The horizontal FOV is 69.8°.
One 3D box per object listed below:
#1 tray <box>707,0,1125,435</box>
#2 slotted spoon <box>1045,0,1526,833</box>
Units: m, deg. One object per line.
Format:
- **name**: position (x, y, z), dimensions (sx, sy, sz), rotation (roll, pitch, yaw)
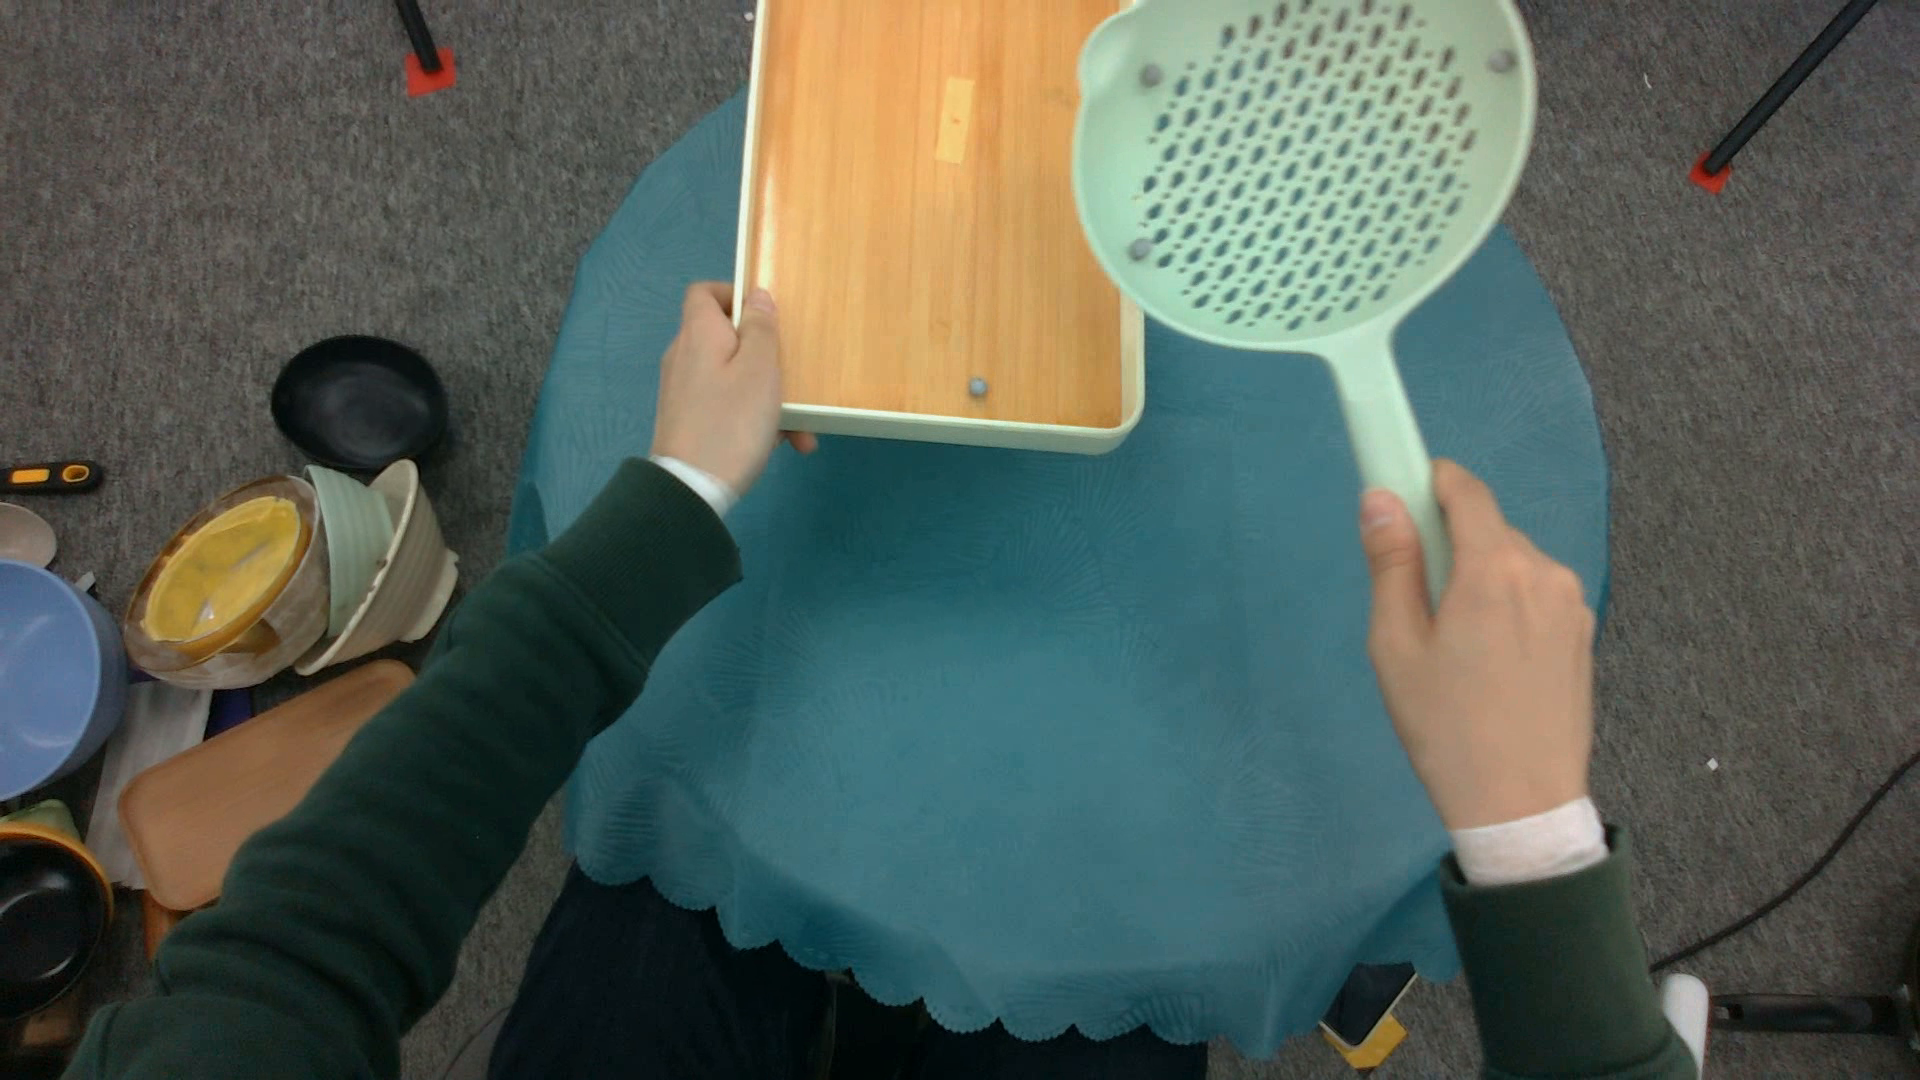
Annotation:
- **tray**: position (-0.017, -0.199, 0.674), dimensions (0.192, 0.027, 0.301), rotation (4, 71, -8)
- **slotted spoon**: position (0.144, -0.071, 0.516), dimensions (0.169, 0.075, 0.359), rotation (-20, 69, 19)
